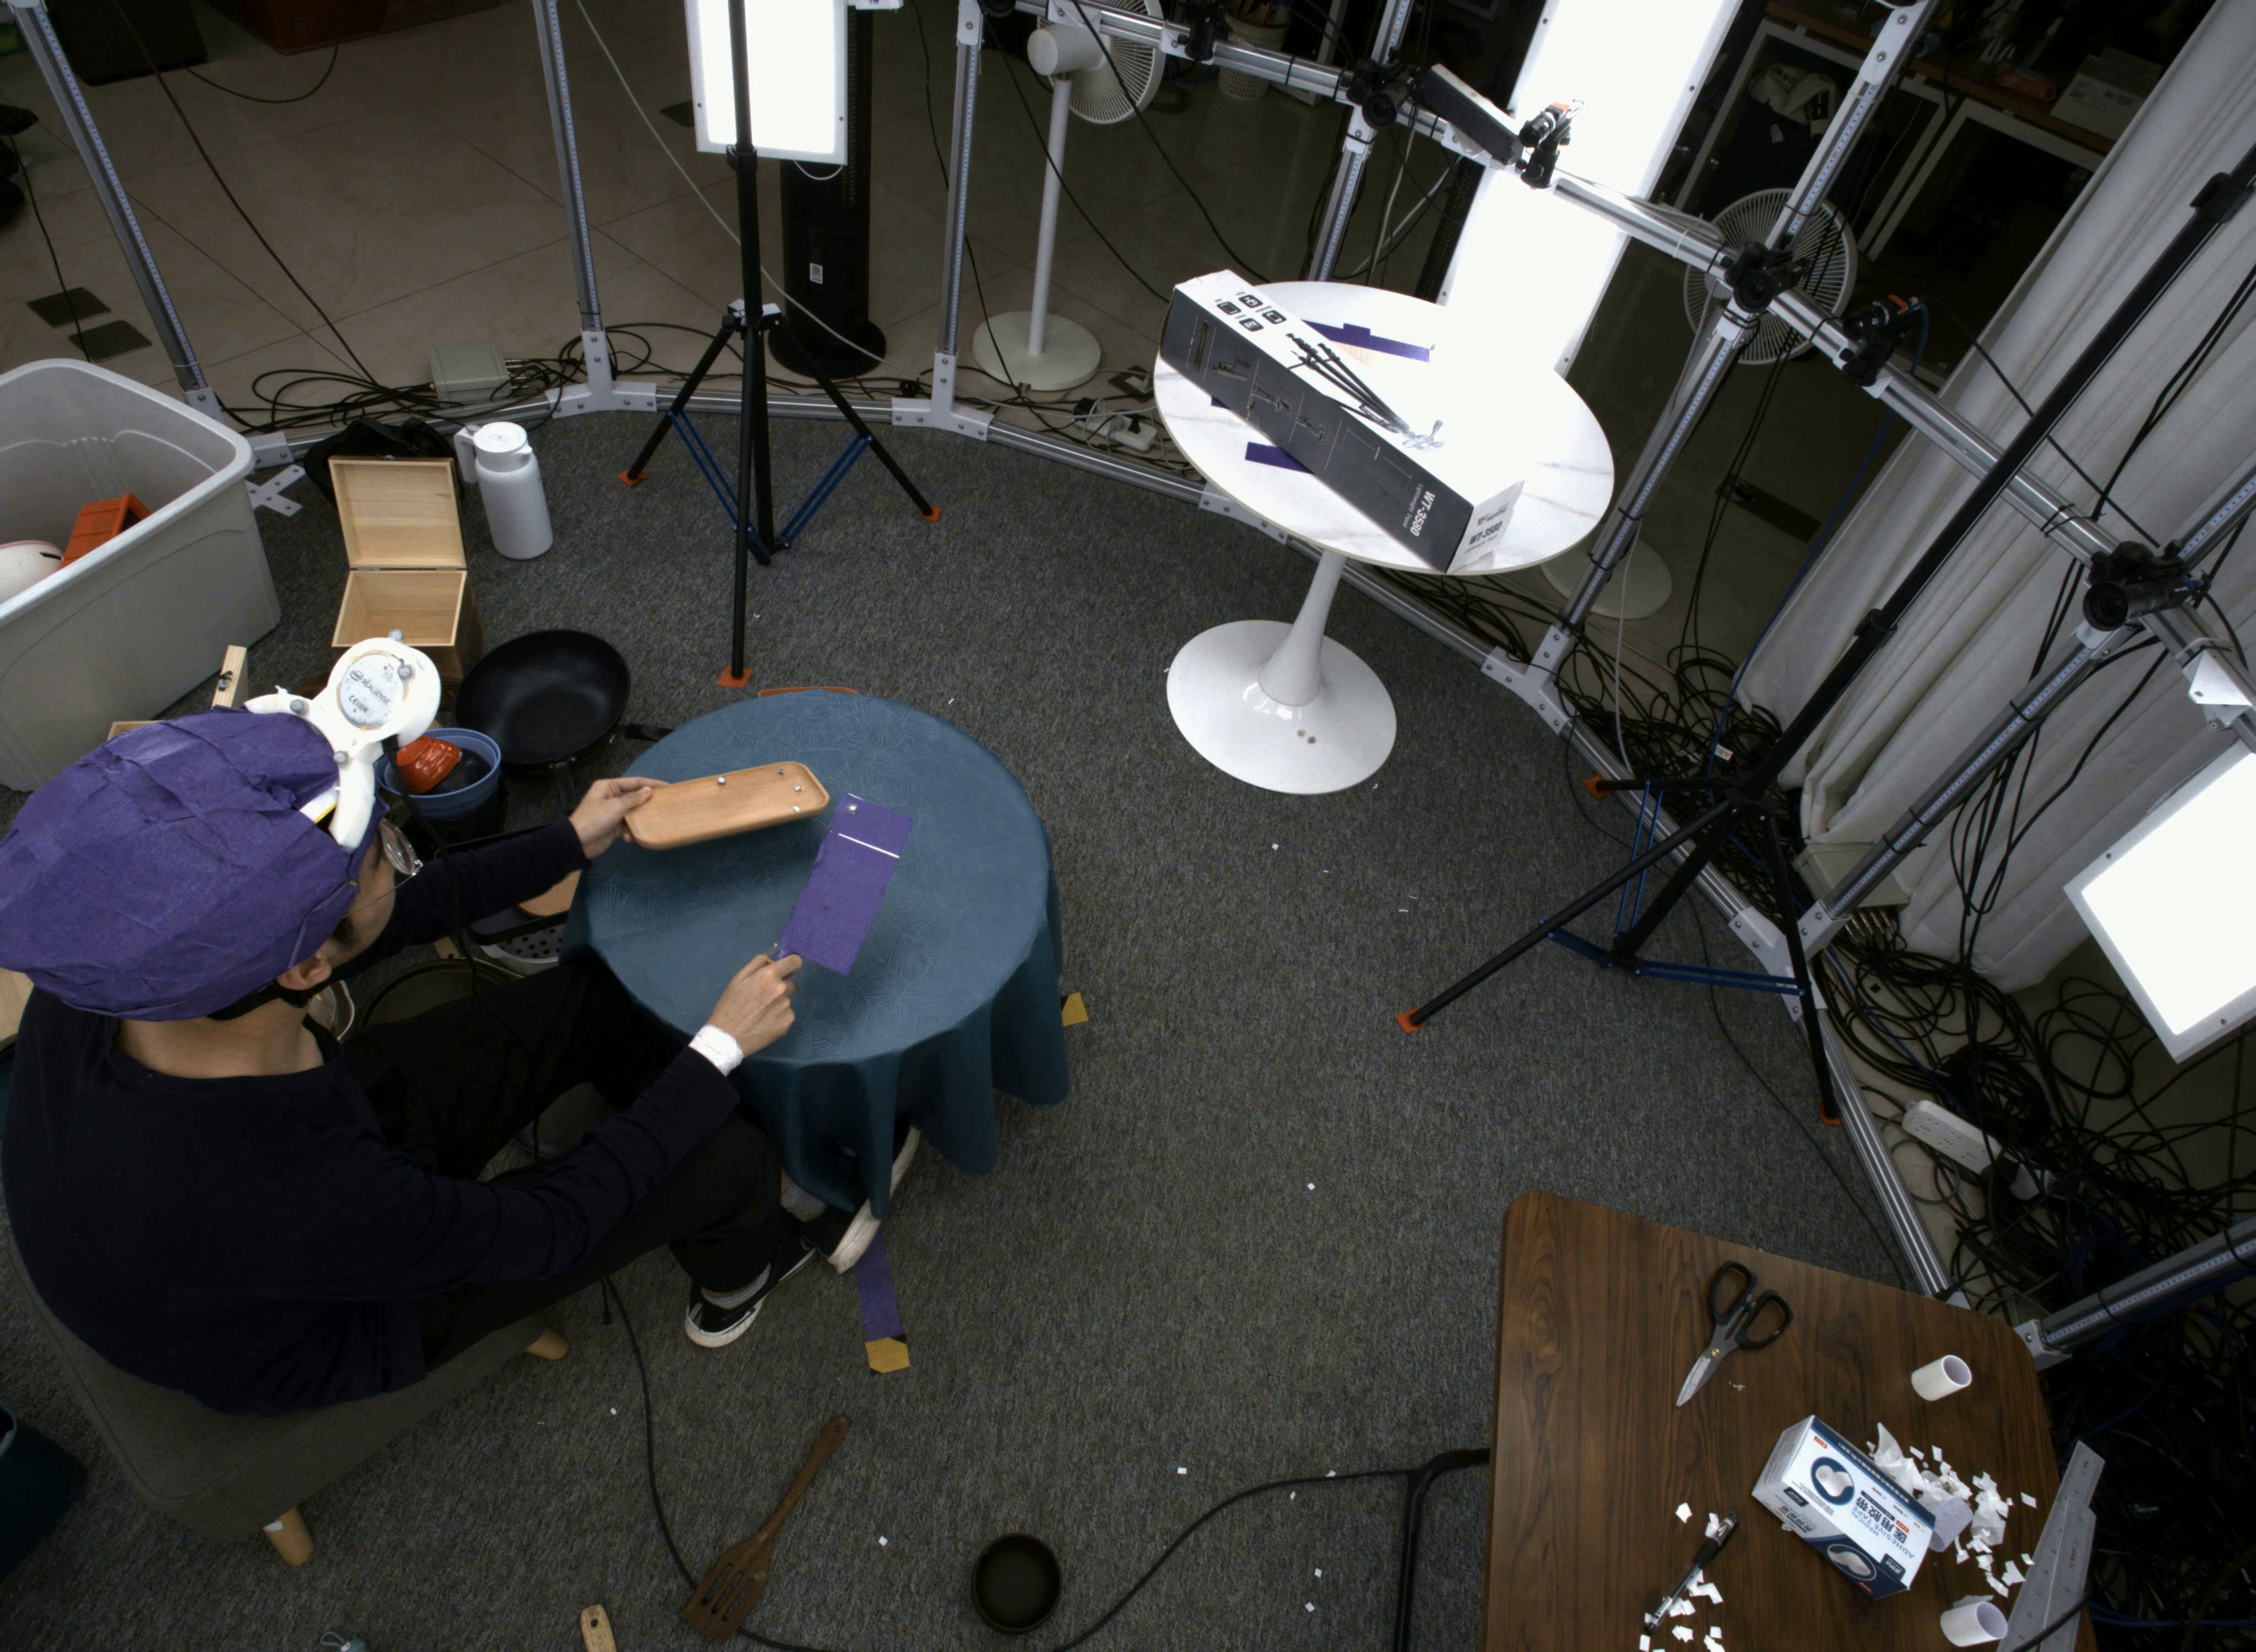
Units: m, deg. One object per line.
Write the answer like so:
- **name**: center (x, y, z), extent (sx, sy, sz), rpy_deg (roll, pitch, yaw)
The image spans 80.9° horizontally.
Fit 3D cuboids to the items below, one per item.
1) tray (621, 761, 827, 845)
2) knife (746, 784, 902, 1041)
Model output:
- **tray**: center (-0.517, -0.032, 1.651), extent (0.252, 0.023, 0.125), rpy_deg (-13, 33, -27)
- **knife**: center (-0.354, 0.108, 1.537), extent (0.105, 0.032, 0.315), rpy_deg (22, 75, -14)
